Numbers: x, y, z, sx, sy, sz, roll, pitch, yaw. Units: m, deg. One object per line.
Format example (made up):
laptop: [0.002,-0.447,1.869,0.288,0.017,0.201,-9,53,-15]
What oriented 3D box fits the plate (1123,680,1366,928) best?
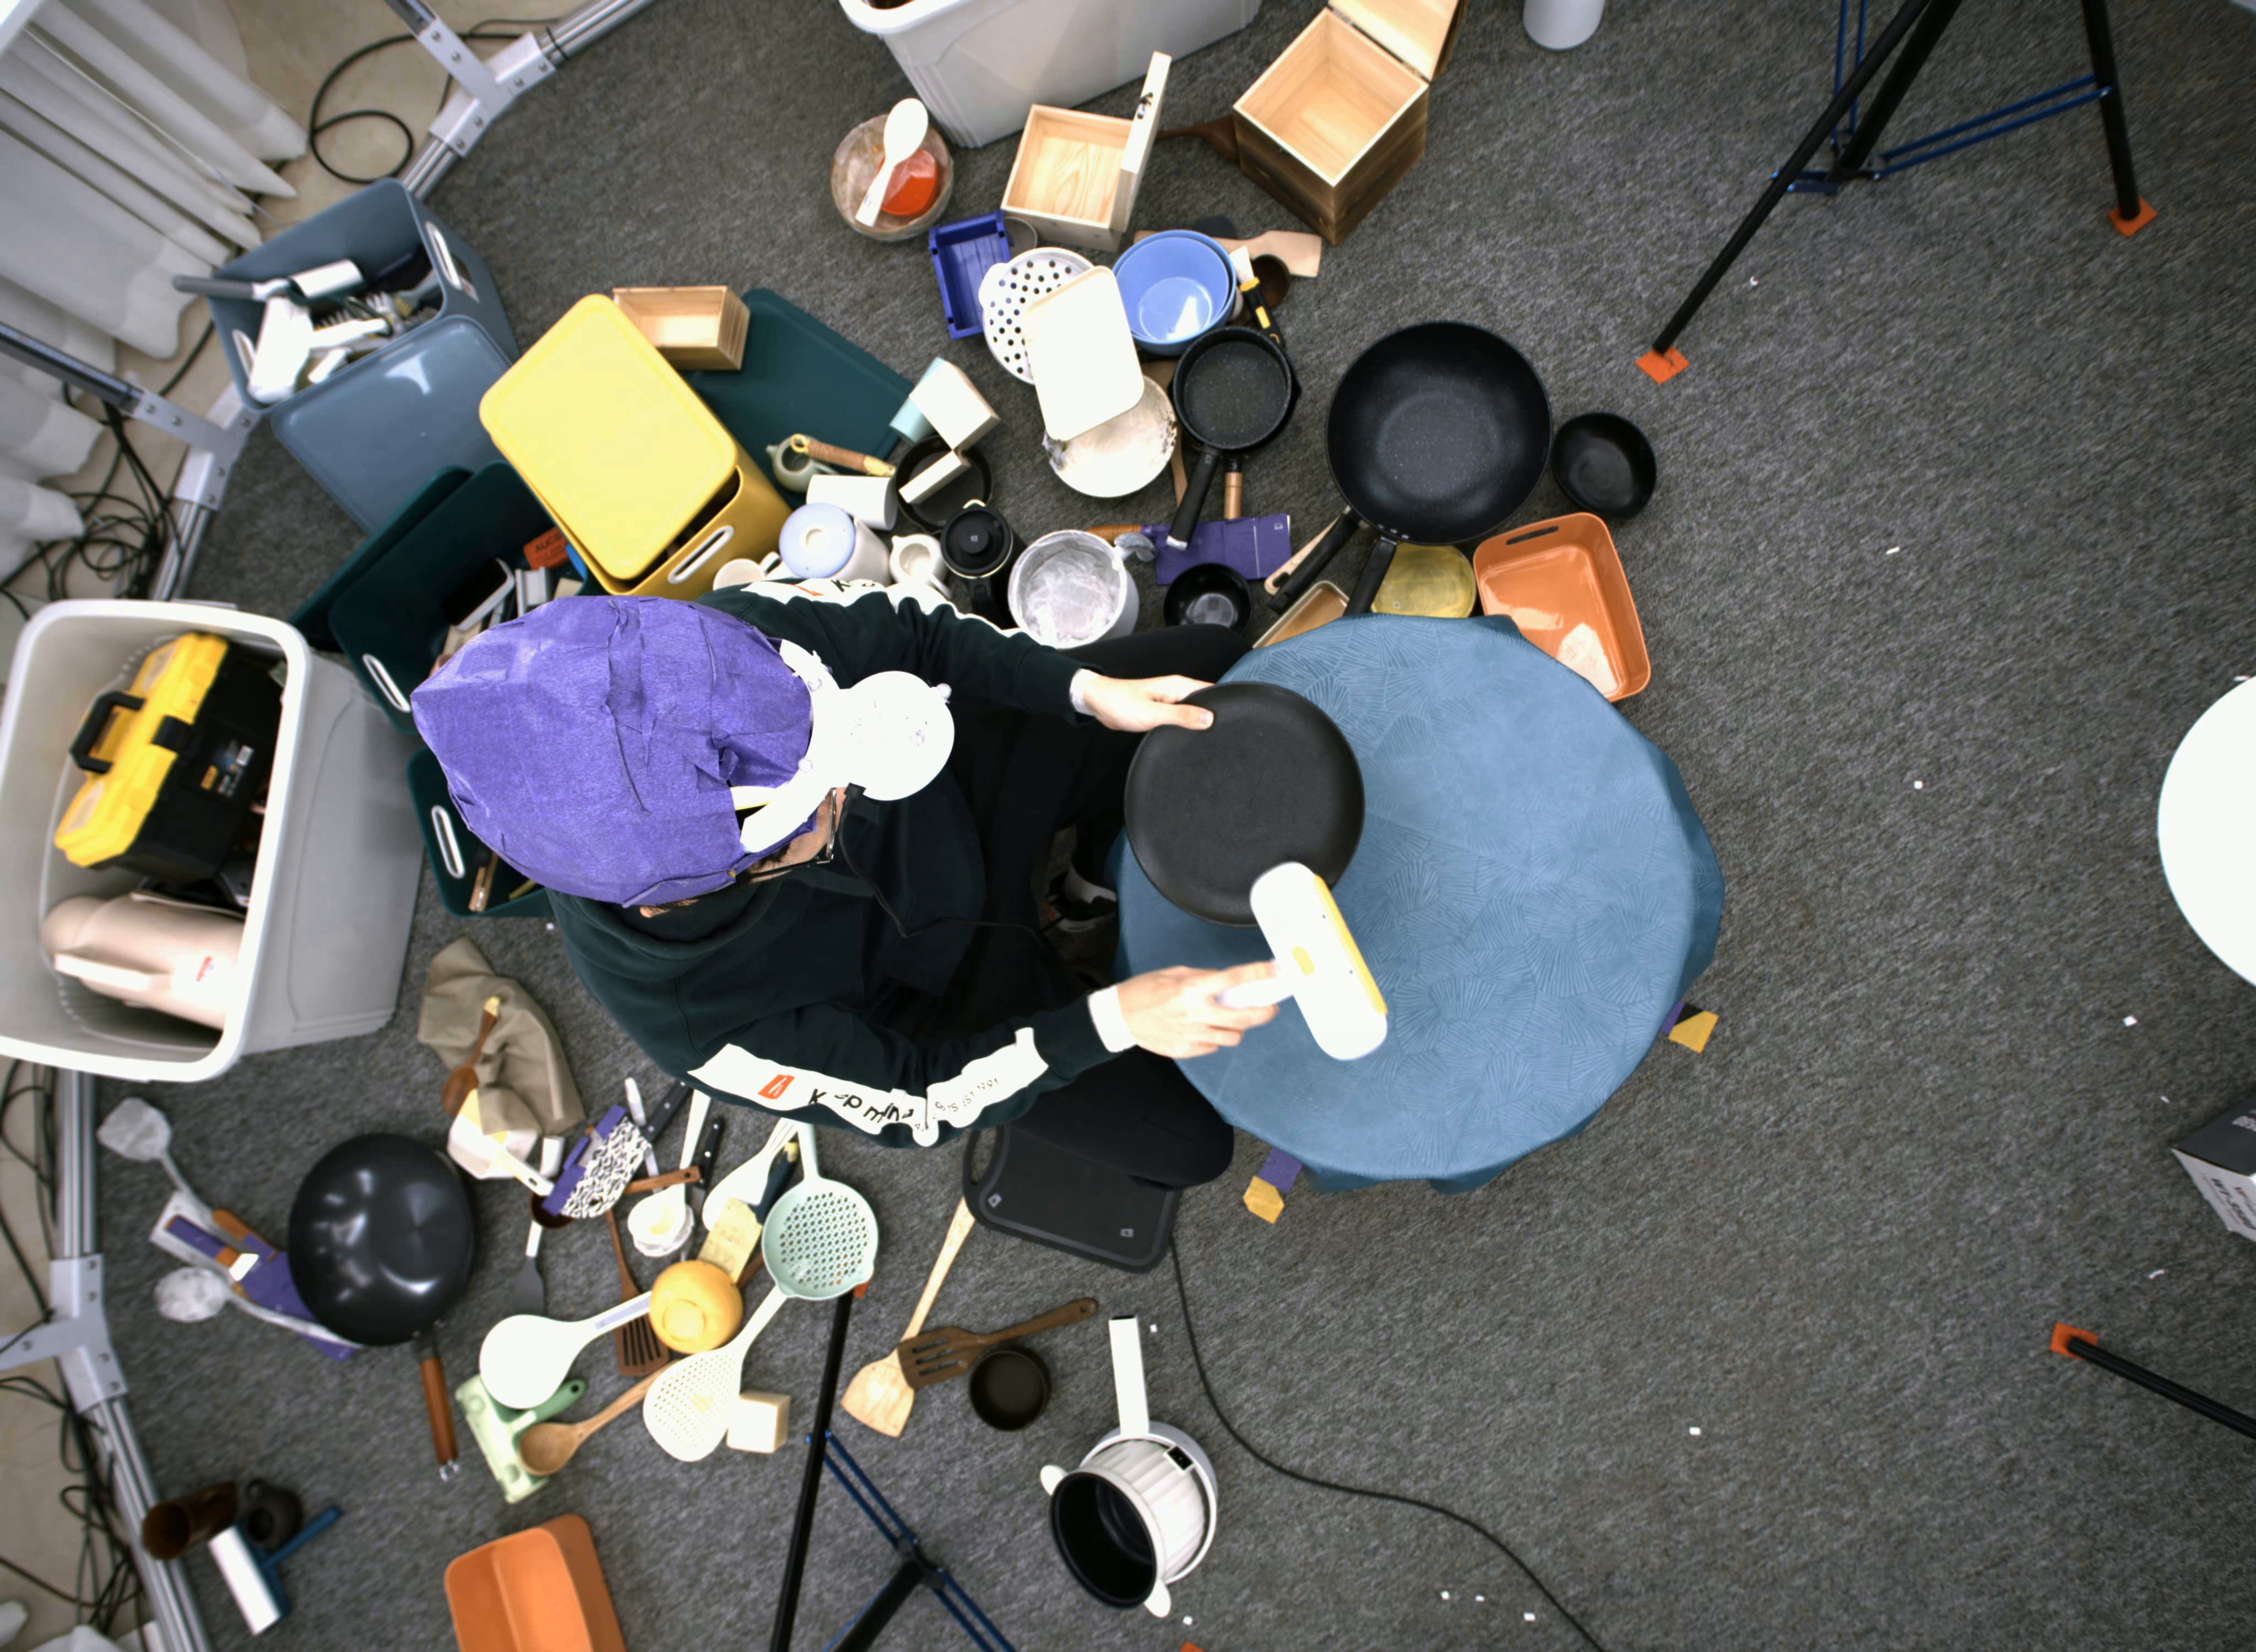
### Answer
plate: [0.114,-0.022,1.360,0.245,0.023,0.245,1,94,18]

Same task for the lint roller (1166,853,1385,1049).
lint roller: [0.124,0.147,1.320,0.195,0.074,0.191,-34,81,17]
